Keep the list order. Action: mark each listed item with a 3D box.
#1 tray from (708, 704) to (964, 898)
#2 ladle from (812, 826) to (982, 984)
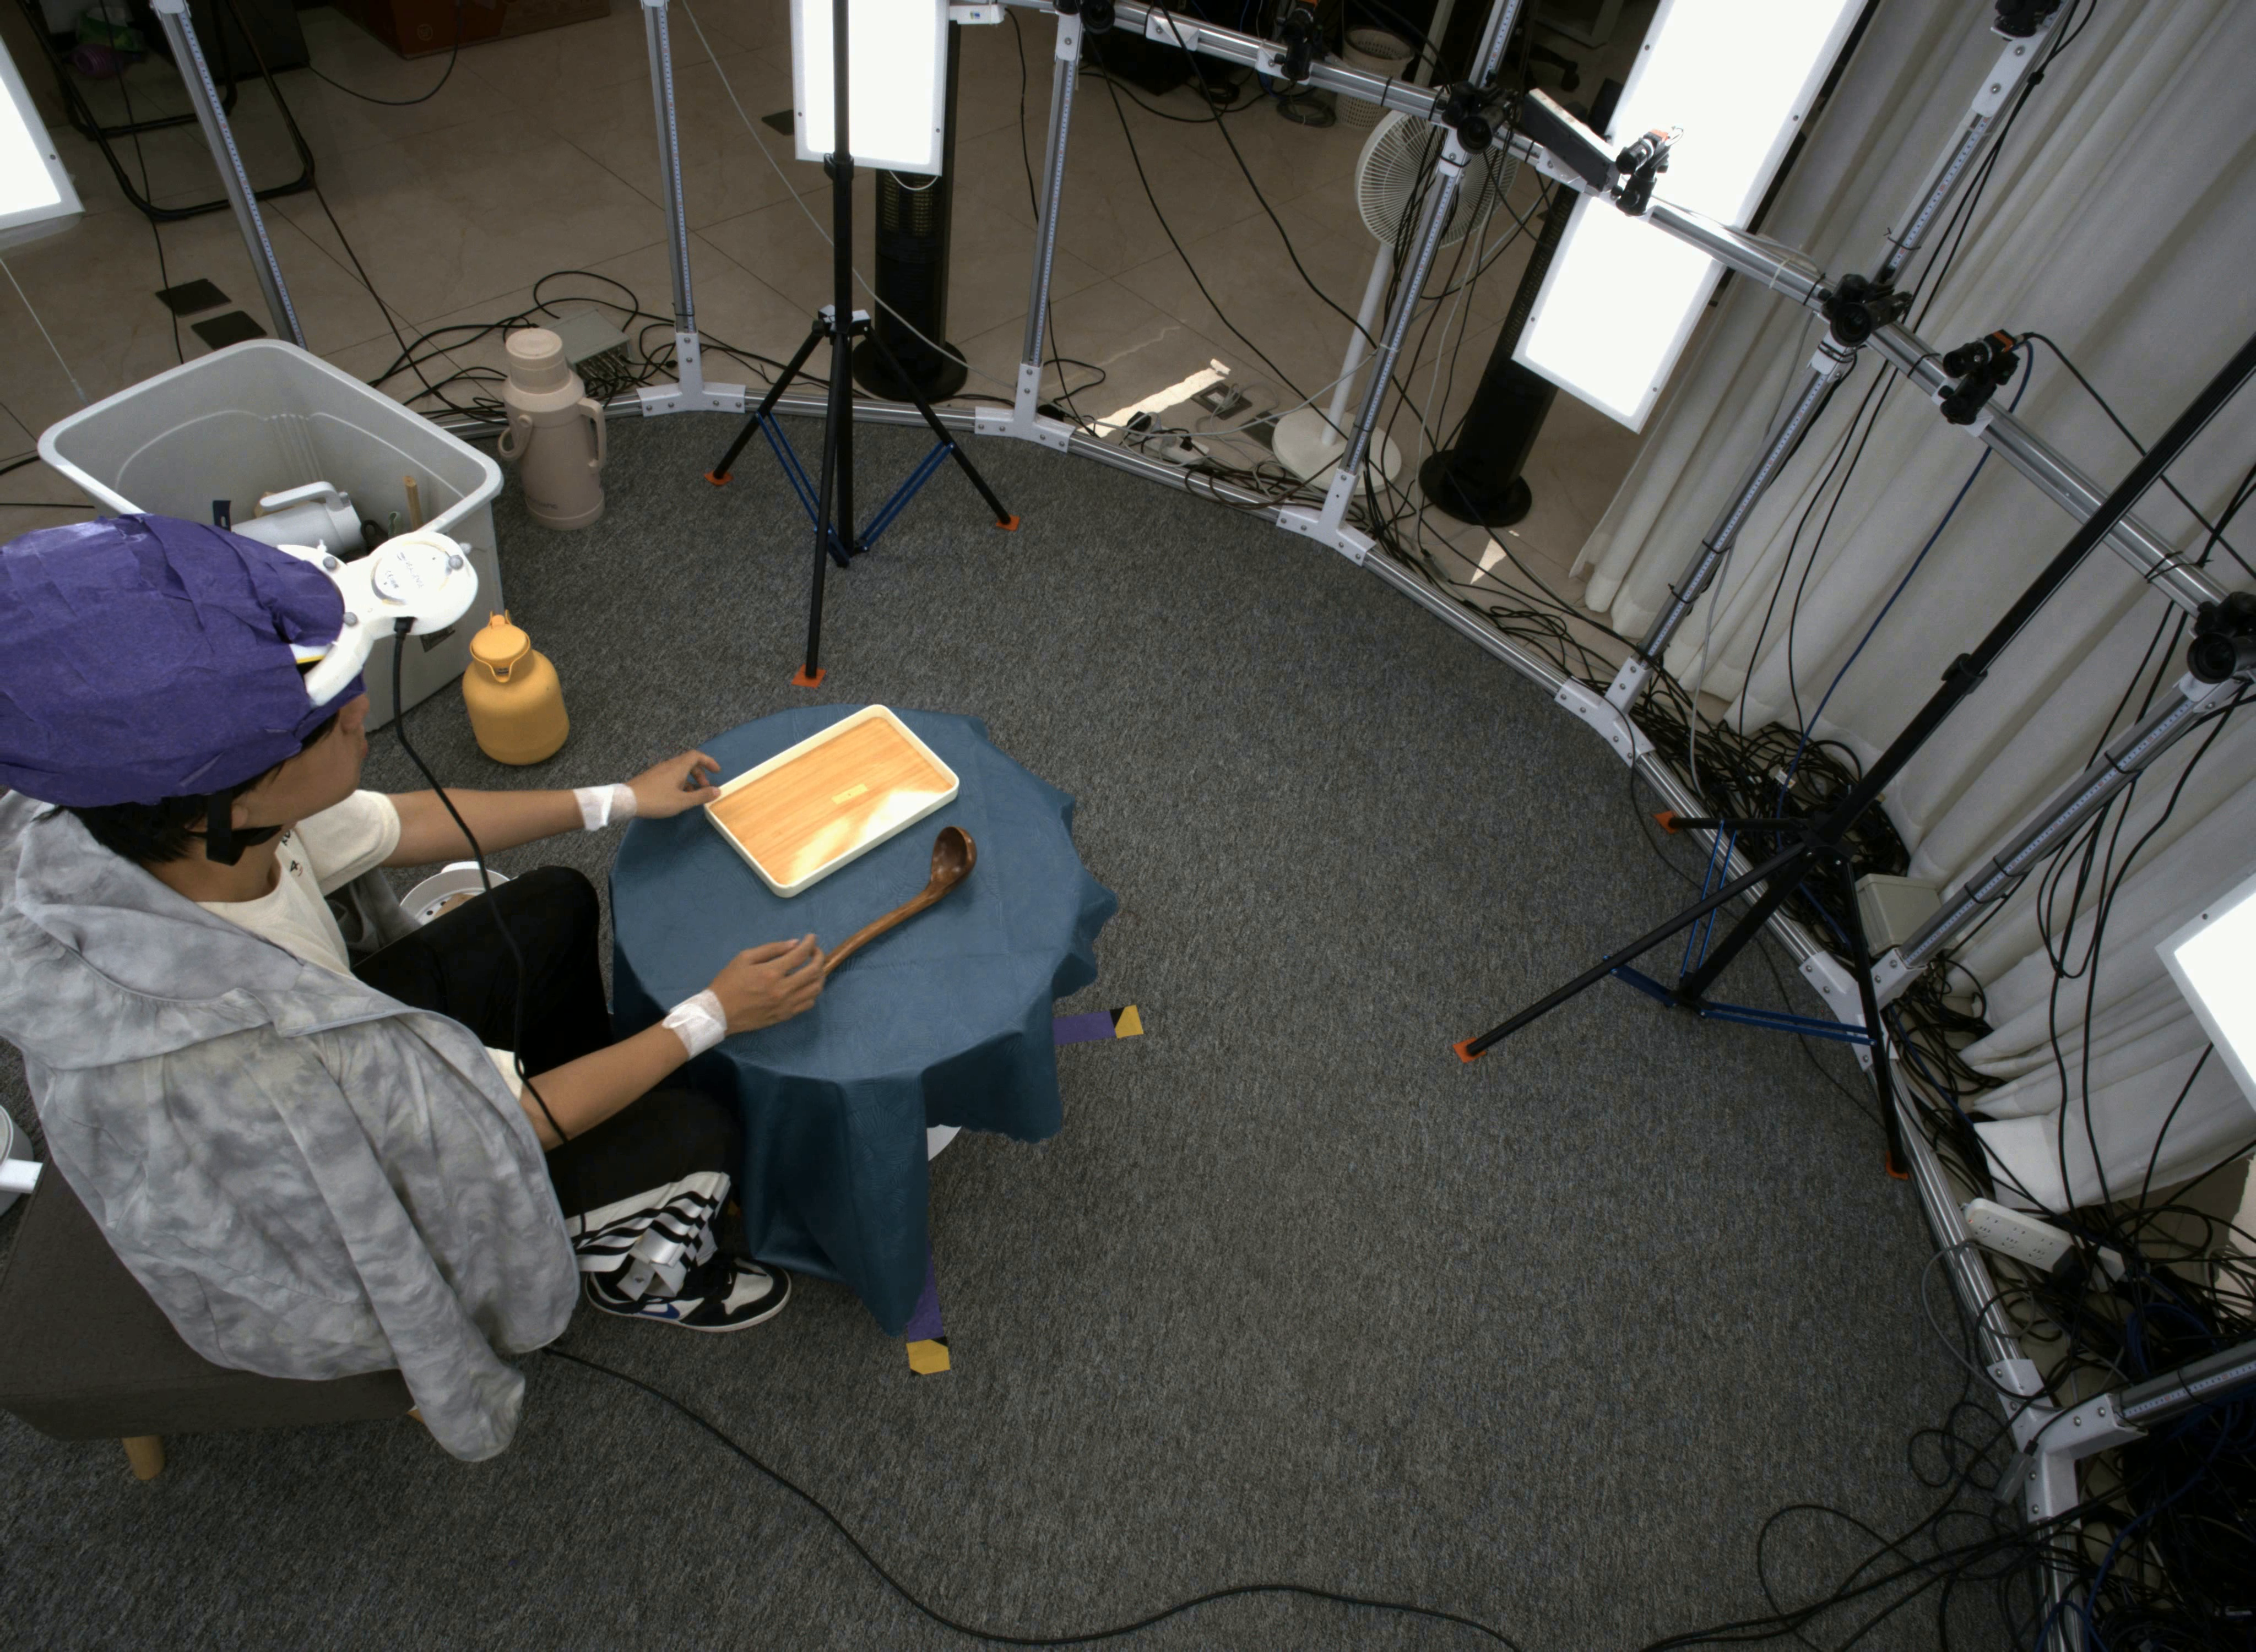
[{"bbox_3d":[-0.389,-0.041,1.747,0.301,0.028,0.187,-34,68,-32],"label":"tray"},{"bbox_3d":[-0.295,0.093,1.644,0.275,0.079,0.079,-34,28,-31],"label":"ladle"}]
